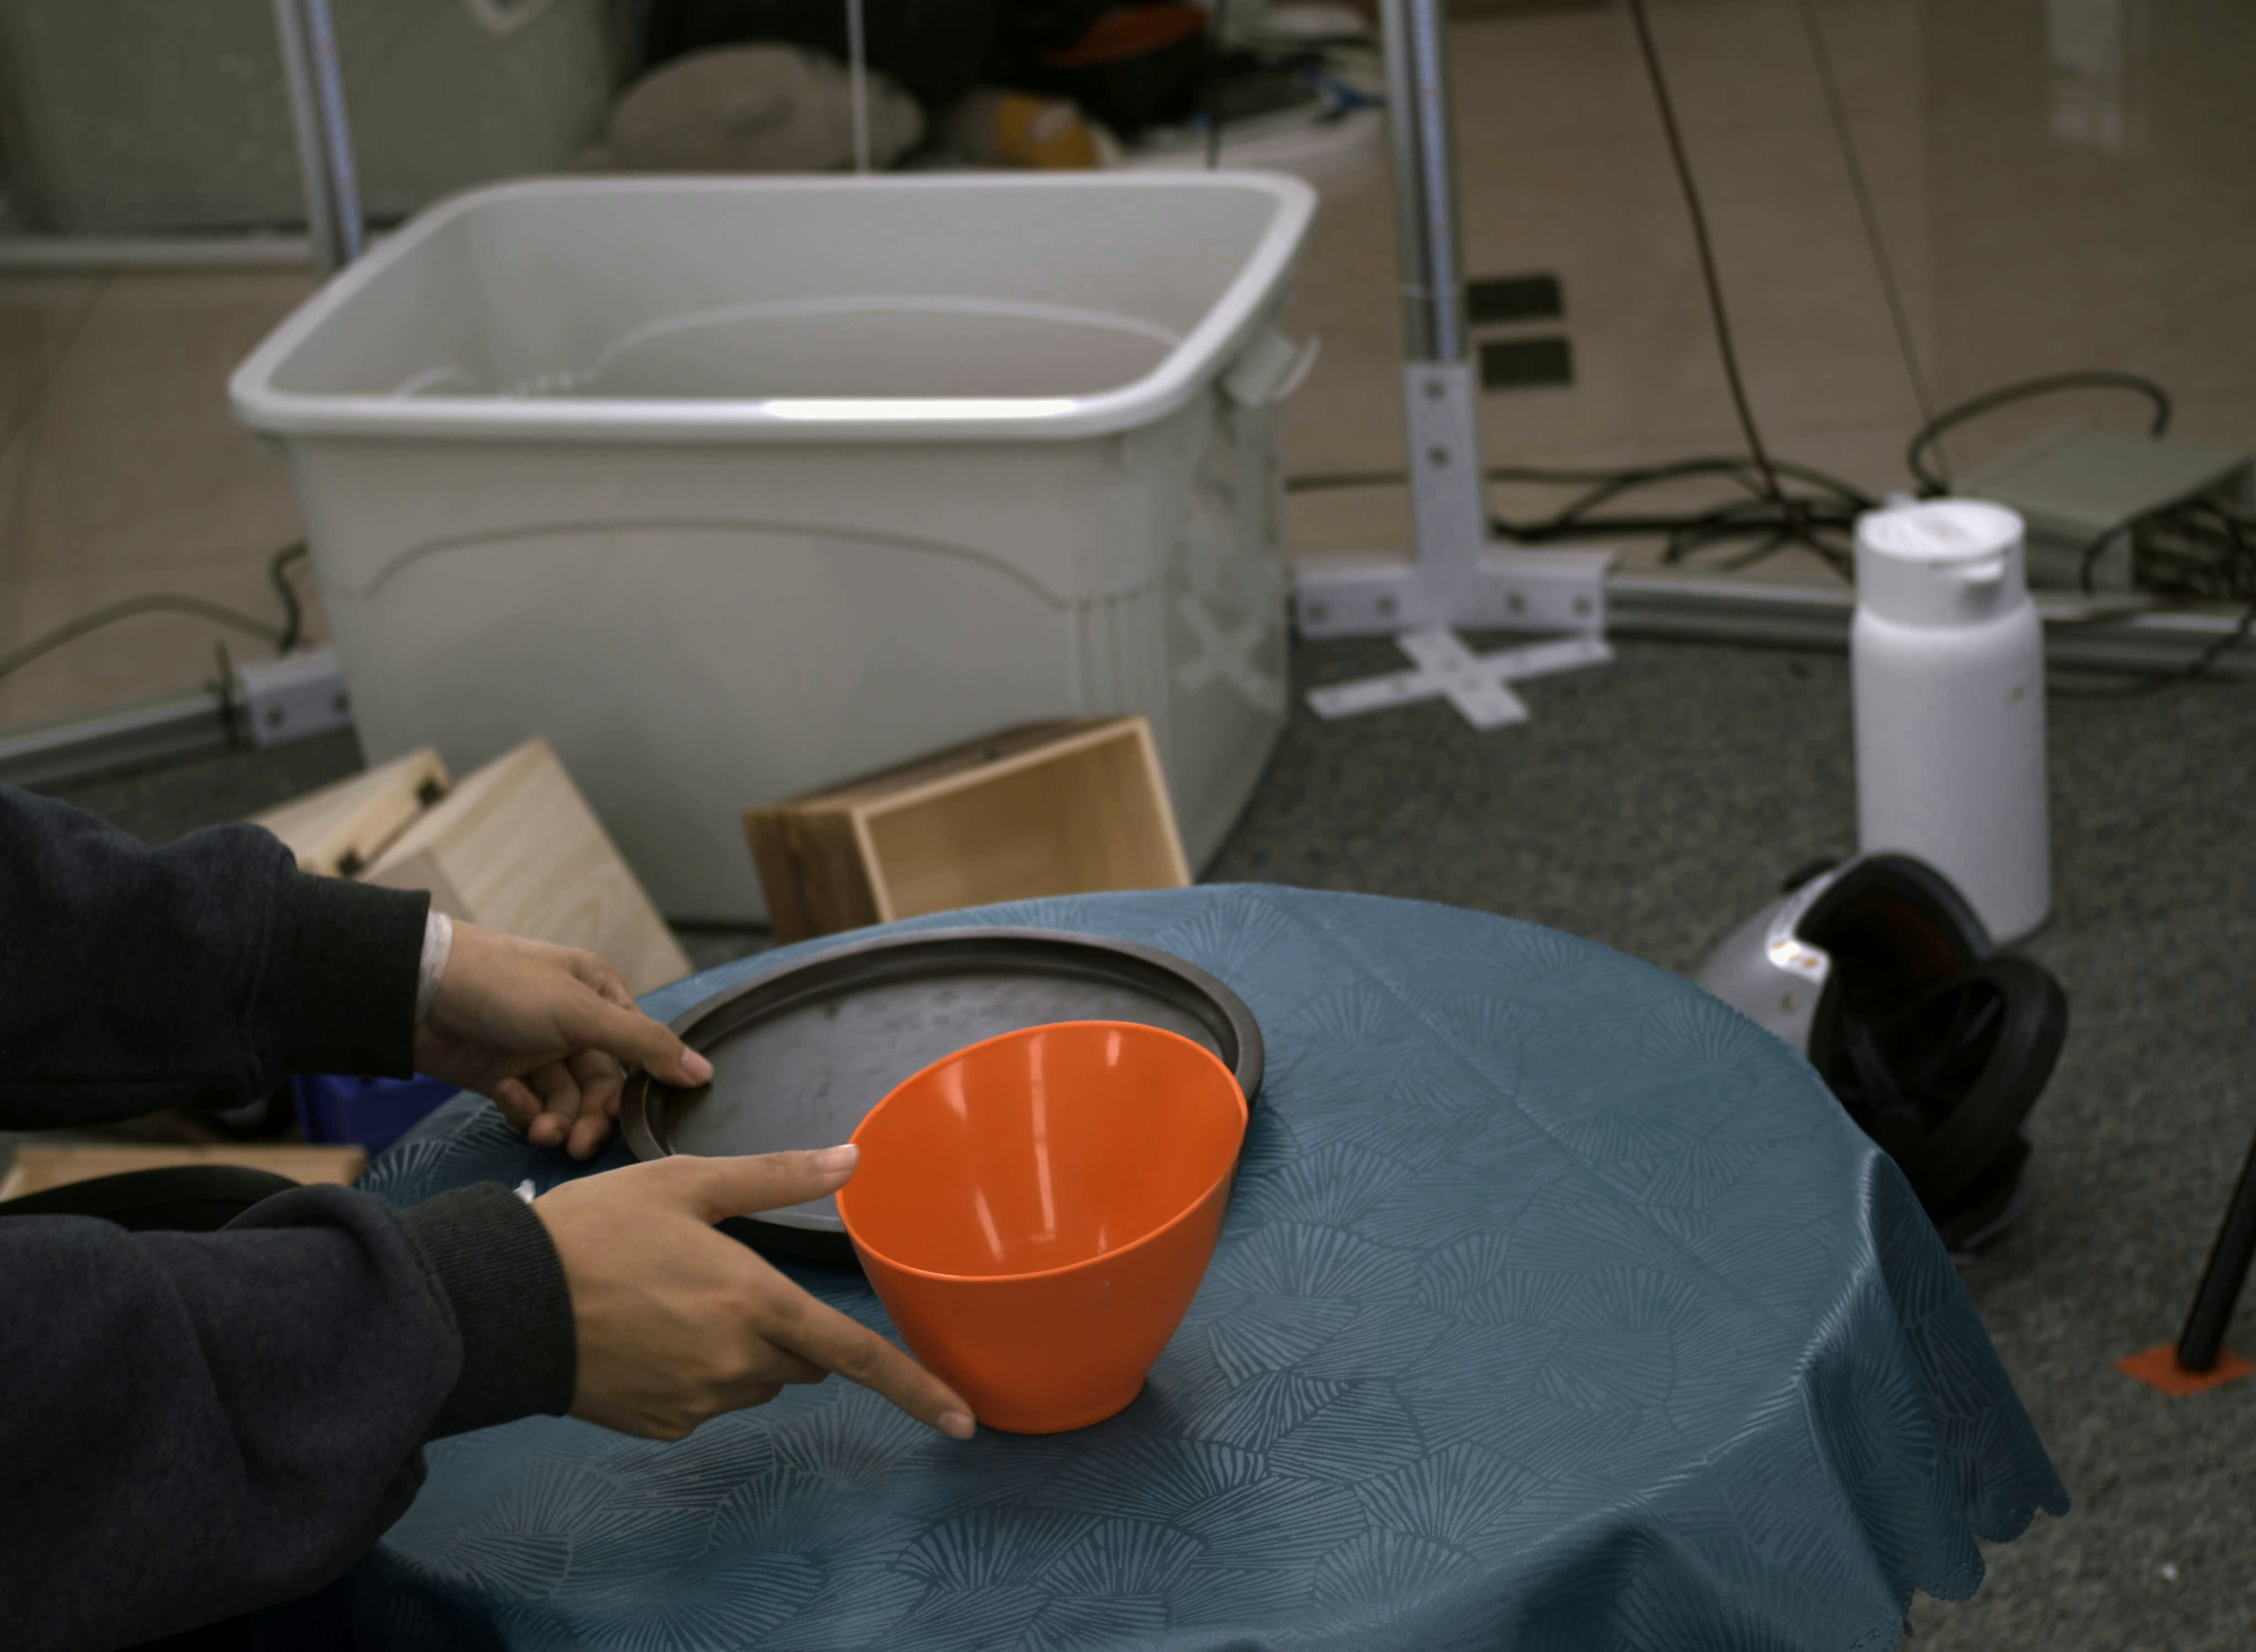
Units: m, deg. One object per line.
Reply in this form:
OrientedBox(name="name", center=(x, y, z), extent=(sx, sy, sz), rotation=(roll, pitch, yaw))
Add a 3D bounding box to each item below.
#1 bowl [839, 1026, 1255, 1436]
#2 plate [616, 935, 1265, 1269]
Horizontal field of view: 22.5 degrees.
OrientedBox(name="bowl", center=(-0.026, 0.150, 2.008), extent=(0.148, 0.106, 0.146), rotation=(-4, 26, 2))
OrientedBox(name="plate", center=(-0.072, 0.105, 2.205), extent=(0.254, 0.029, 0.251), rotation=(-4, 27, 2))
